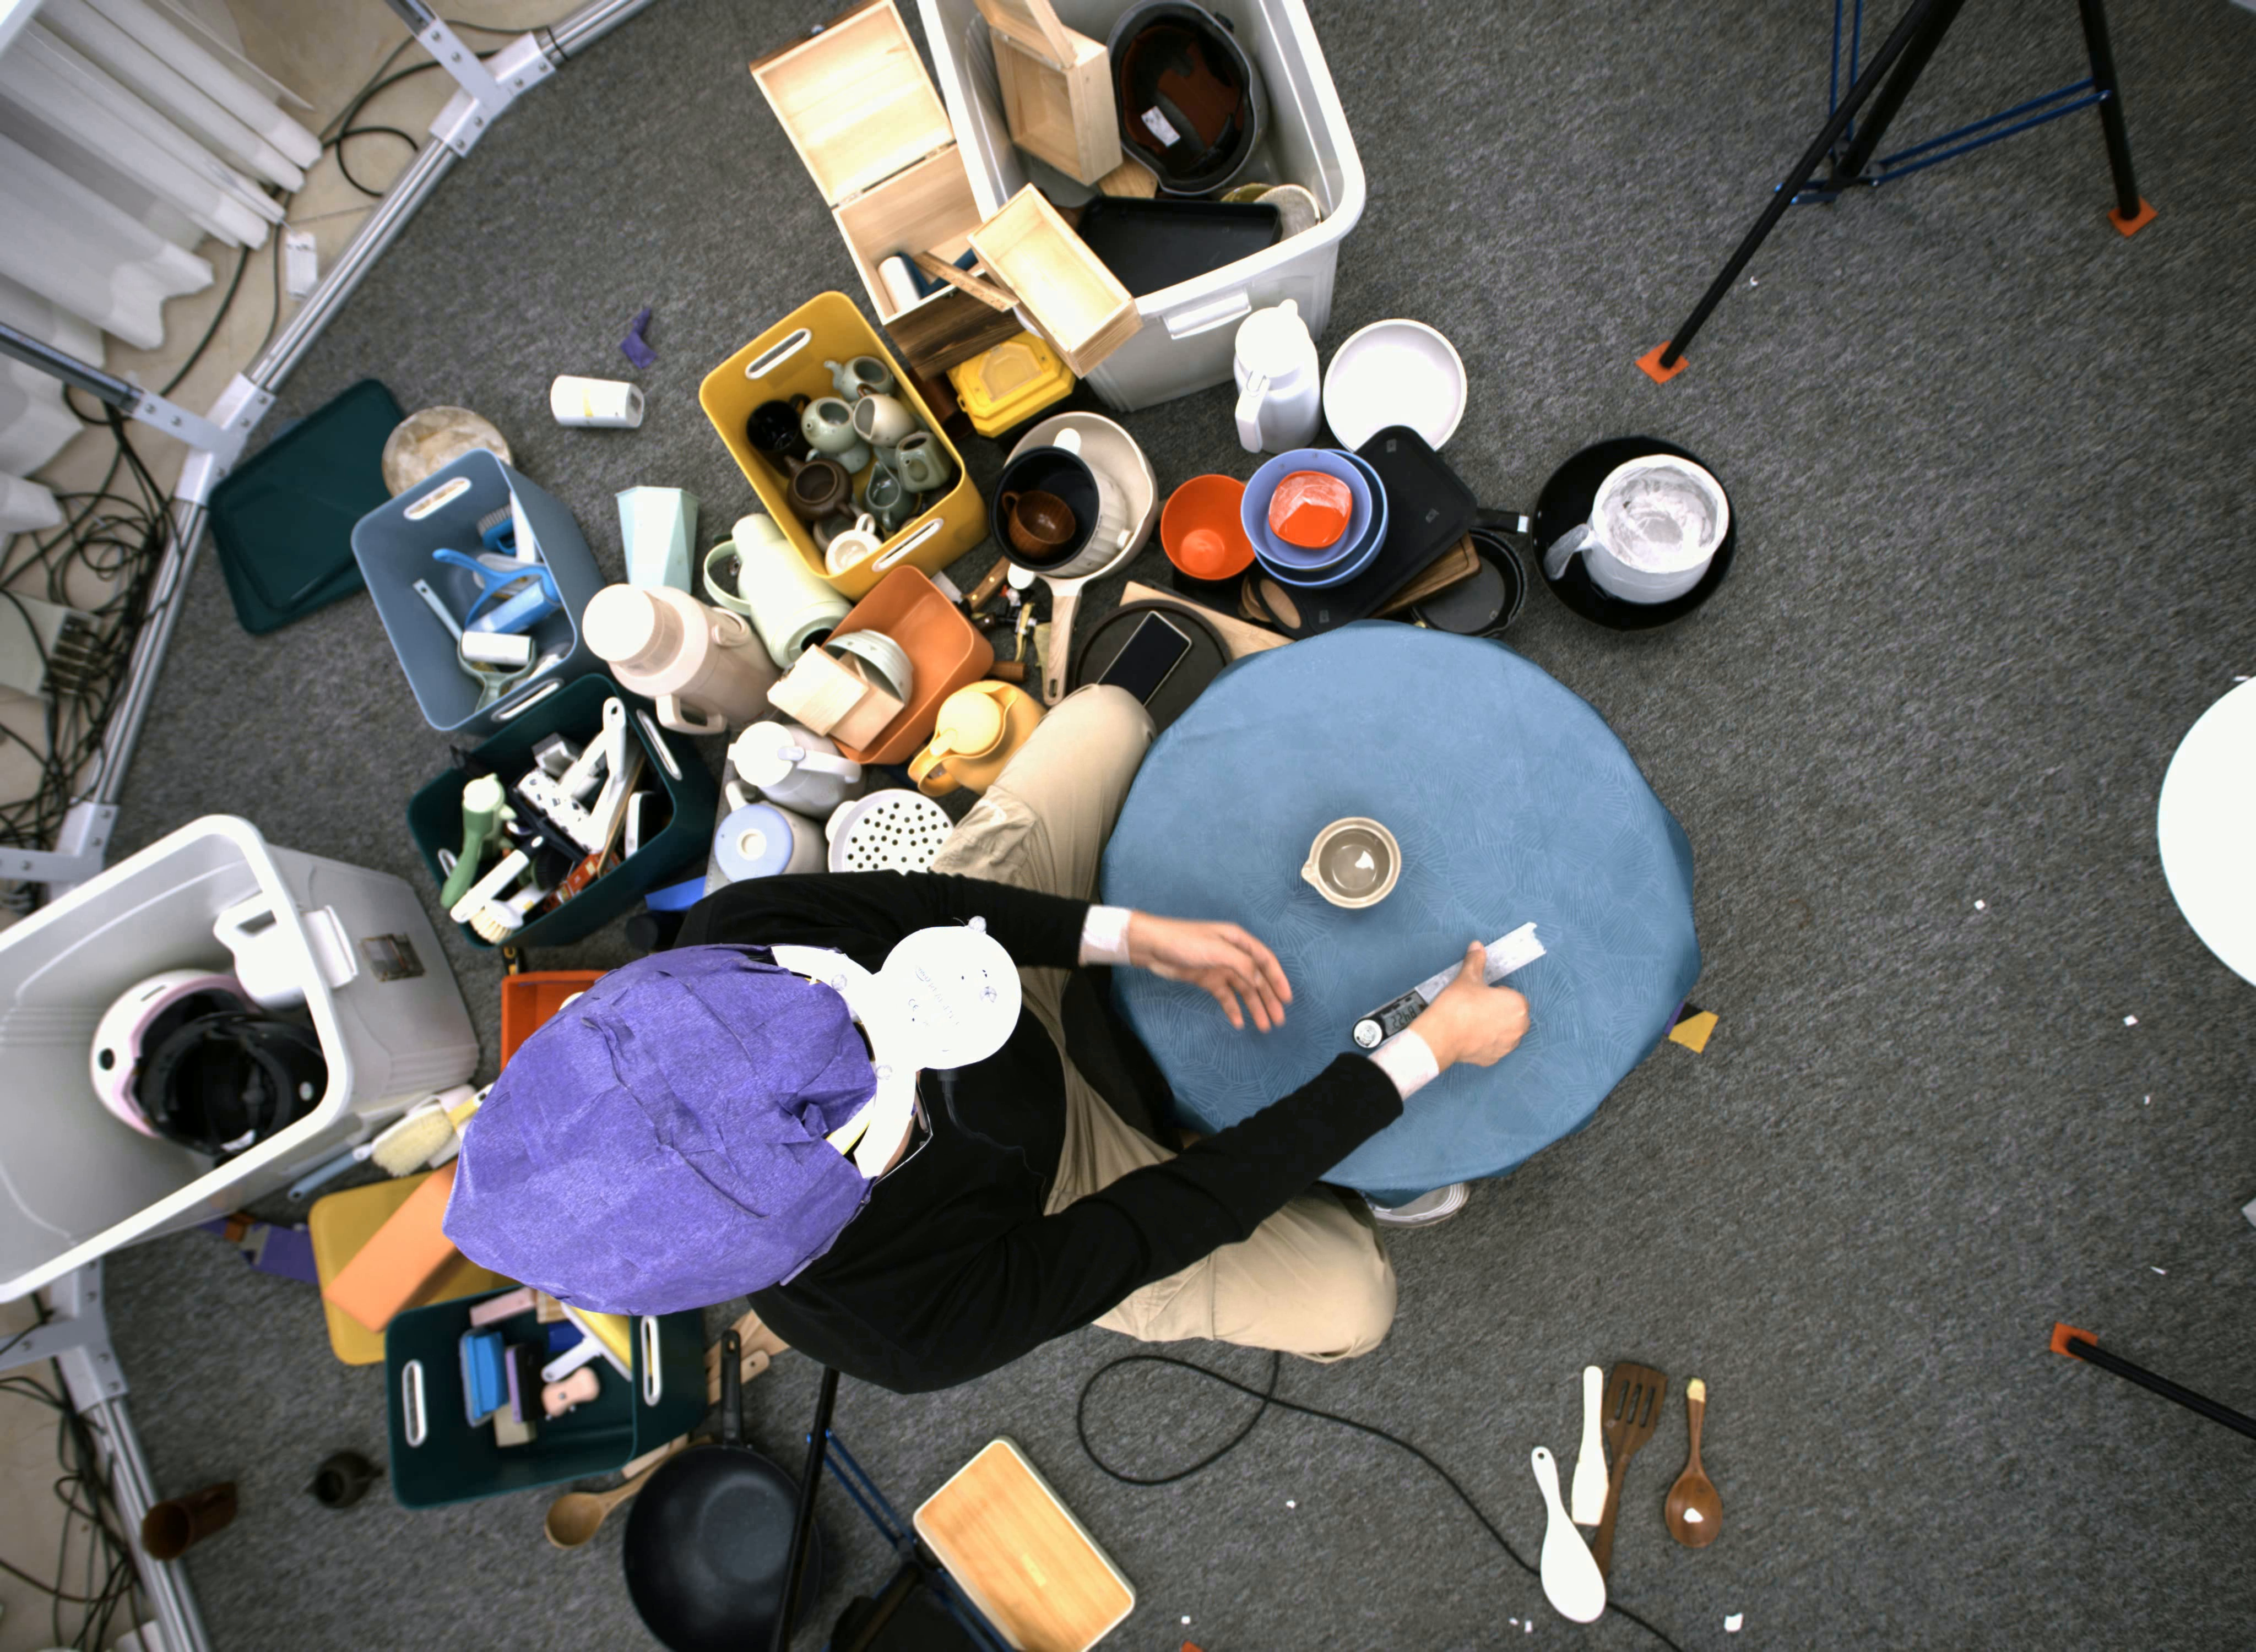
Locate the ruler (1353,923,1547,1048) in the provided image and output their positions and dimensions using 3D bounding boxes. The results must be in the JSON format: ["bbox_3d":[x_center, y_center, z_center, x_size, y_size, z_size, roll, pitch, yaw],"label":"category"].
[{"bbox_3d":[0.332,0.167,1.432,0.219,0.024,0.038,-30,89,9],"label":"ruler"}]

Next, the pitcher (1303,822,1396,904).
[{"bbox_3d":[0.229,0.040,1.432,0.096,0.071,0.083,-13,84,8],"label":"pitcher"}]
